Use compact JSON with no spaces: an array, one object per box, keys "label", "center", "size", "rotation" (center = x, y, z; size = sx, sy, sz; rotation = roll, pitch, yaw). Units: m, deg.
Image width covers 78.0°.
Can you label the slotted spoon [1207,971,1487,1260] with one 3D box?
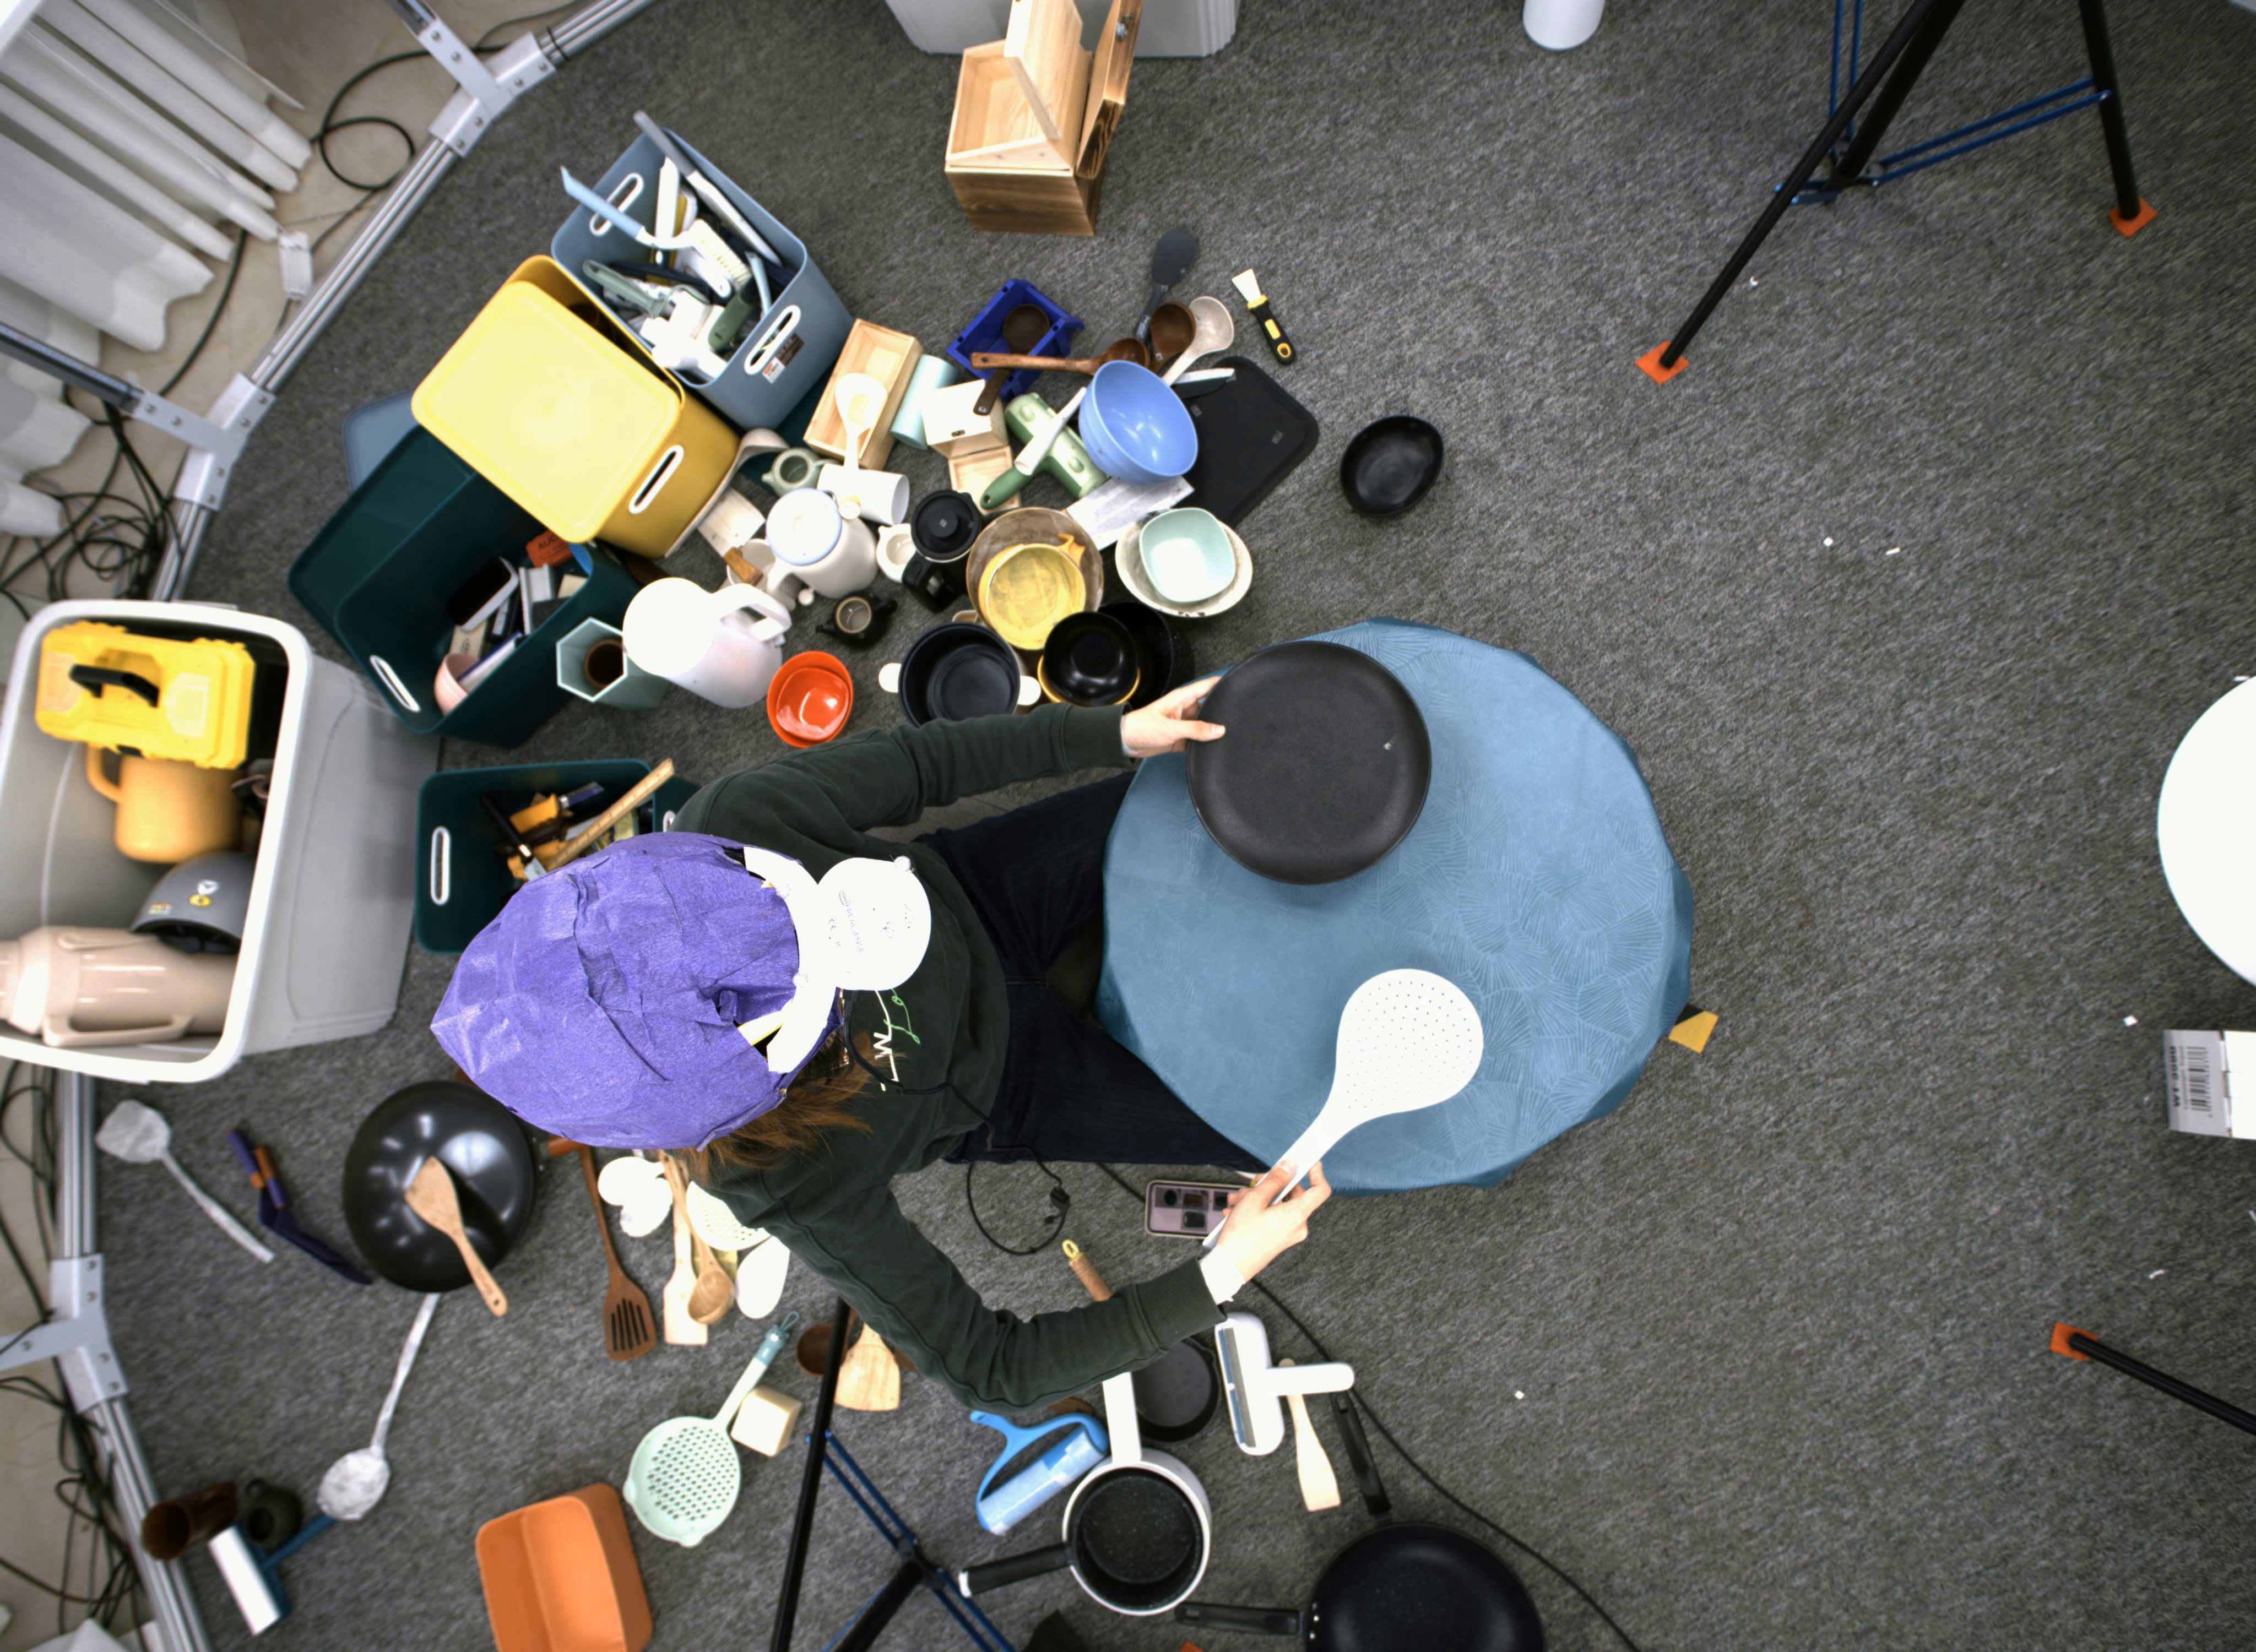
[{"label":"slotted spoon","center":[0.204,0.276,1.318],"size":[0.345,0.047,0.135],"rotation":[-41,67,-18]}]

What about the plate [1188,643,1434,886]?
[{"label":"plate","center":[0.182,-0.062,1.381],"size":[0.245,0.023,0.244],"rotation":[0,90,10]}]
